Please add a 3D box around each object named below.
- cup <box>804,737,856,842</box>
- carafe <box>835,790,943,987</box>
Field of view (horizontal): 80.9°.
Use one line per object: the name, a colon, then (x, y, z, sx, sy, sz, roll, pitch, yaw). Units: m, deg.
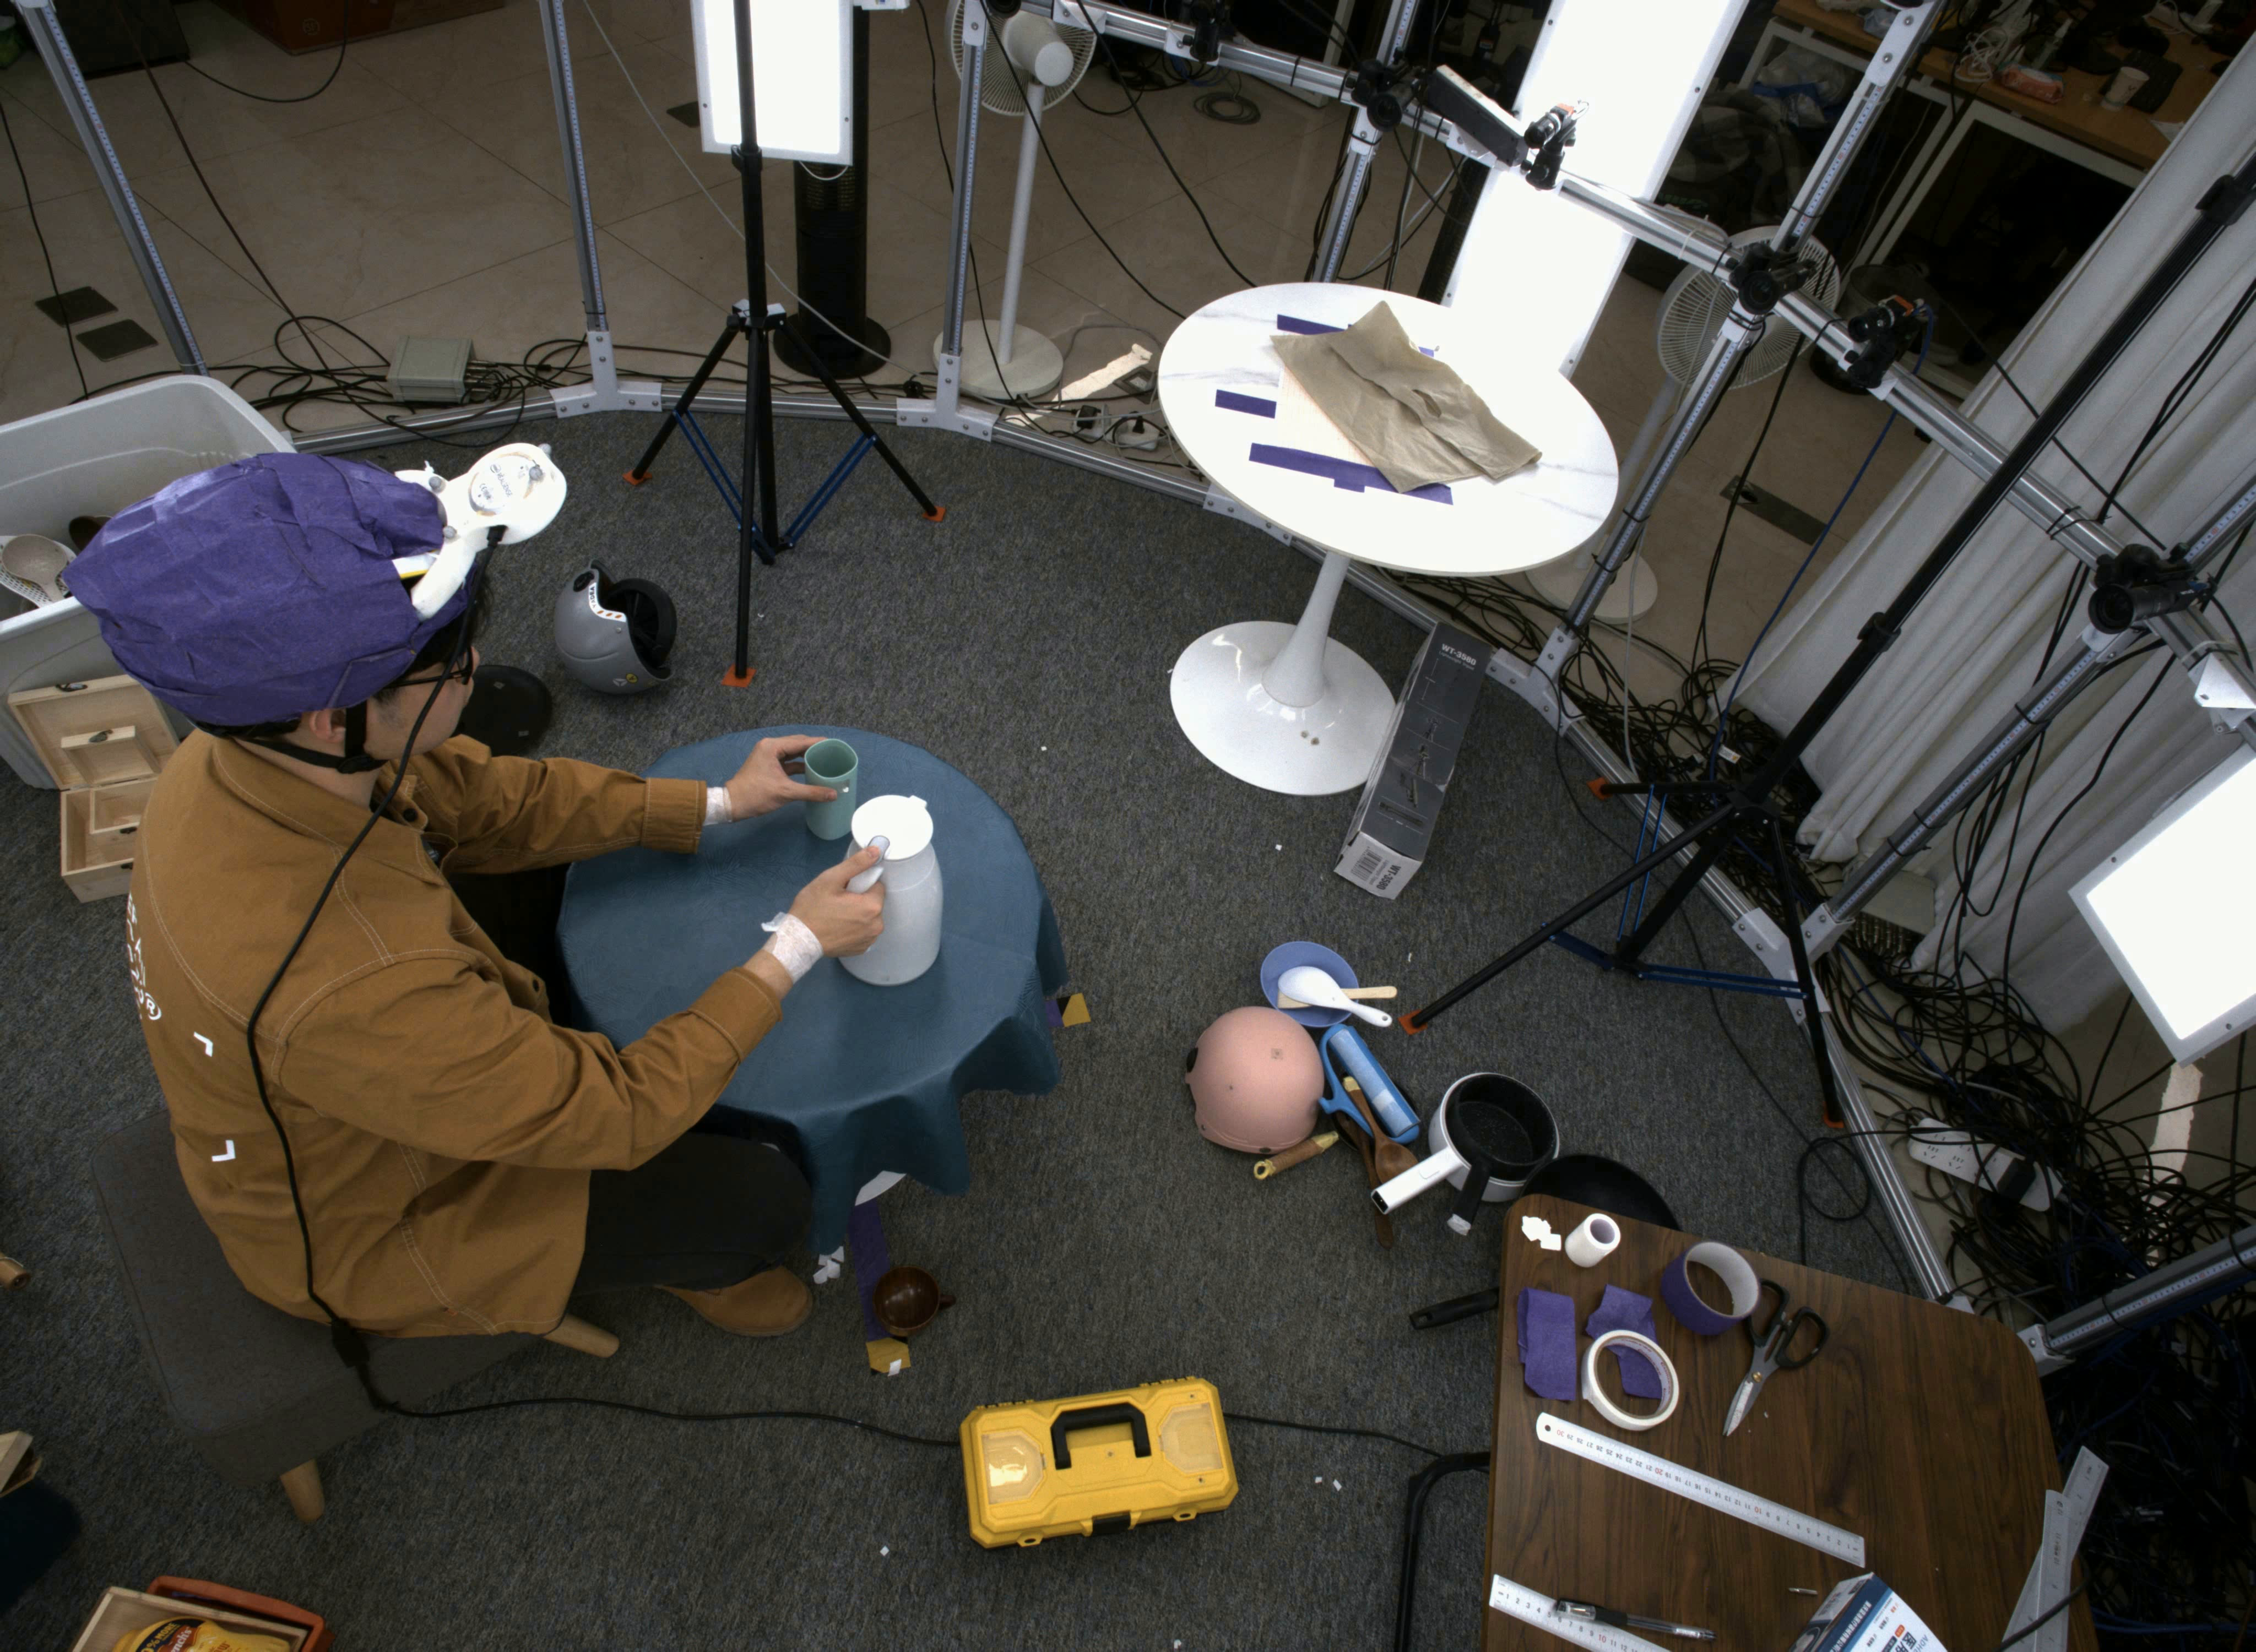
cup: (-0.387, -0.046, 1.685, 0.066, 0.135, 0.065, 7, 51, -7)
carafe: (-0.290, 0.081, 1.535, 0.130, 0.254, 0.166, 23, 52, 7)
